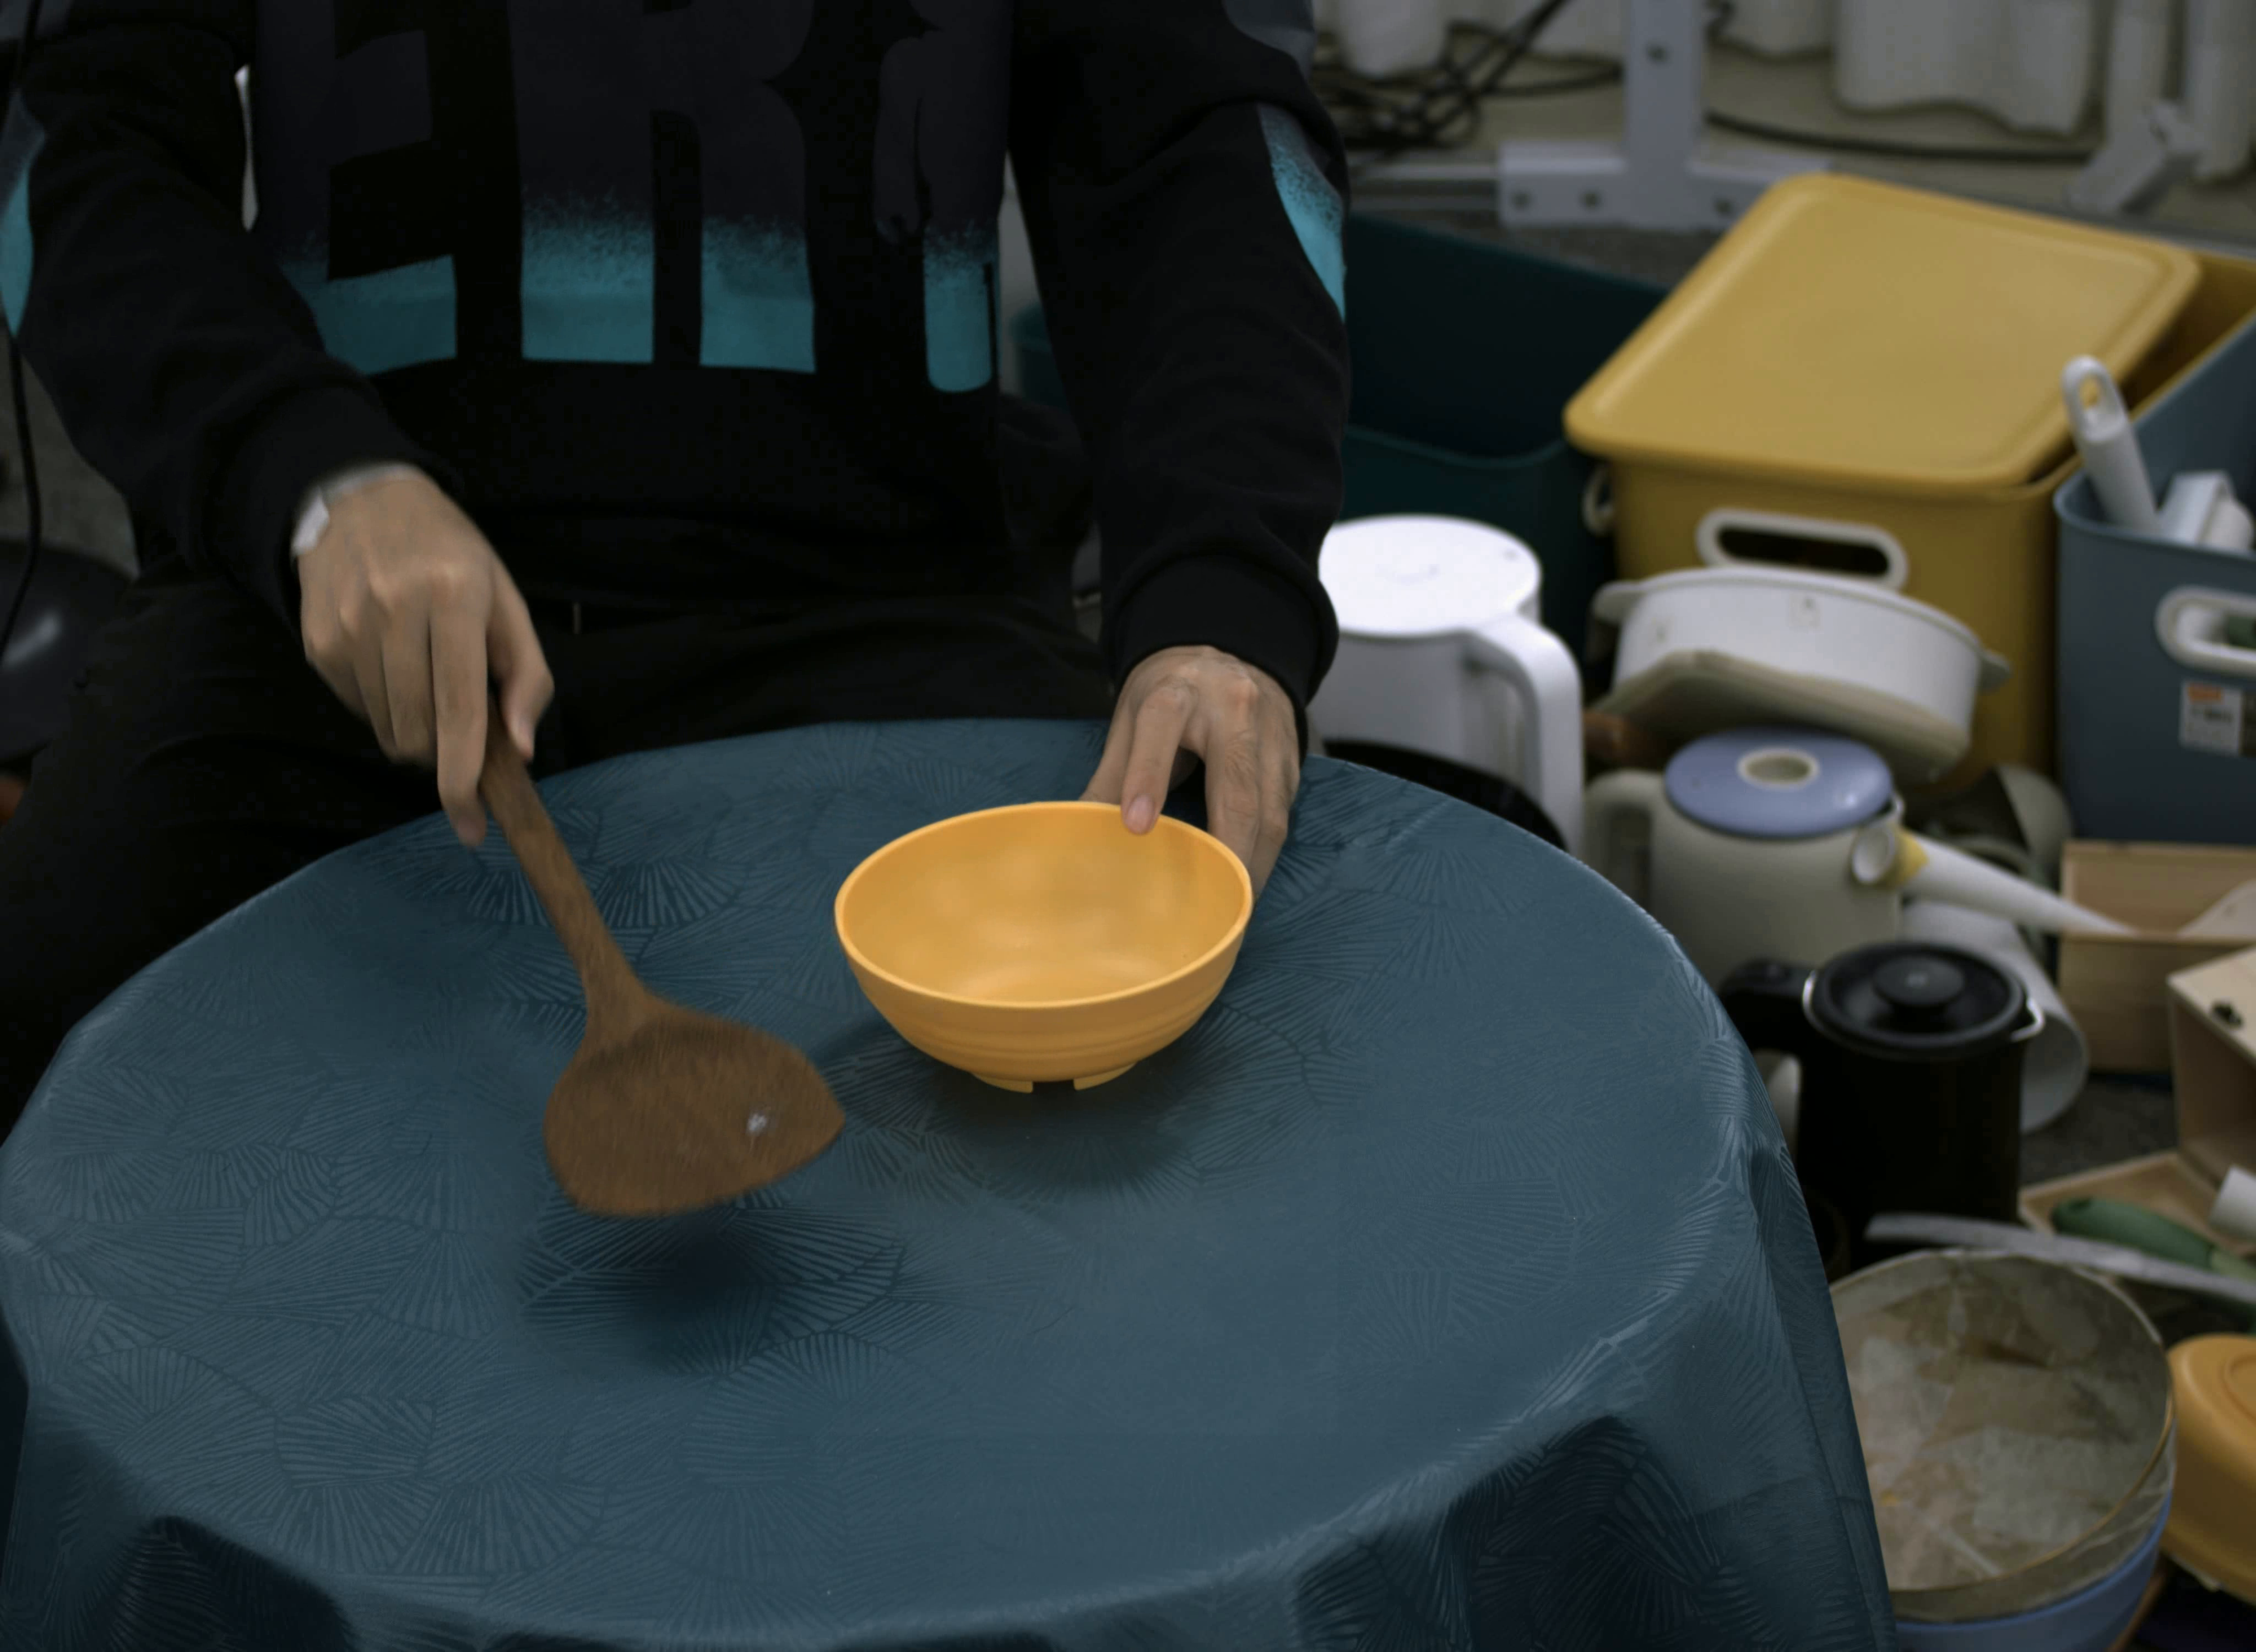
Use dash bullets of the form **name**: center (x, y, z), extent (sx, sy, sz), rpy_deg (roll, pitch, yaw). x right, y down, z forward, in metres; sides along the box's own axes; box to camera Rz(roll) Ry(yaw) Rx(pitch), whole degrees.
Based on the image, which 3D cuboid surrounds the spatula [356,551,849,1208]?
- **spatula**: center (-0.200, 0.008, 1.928), extent (0.096, 0.015, 0.390), rpy_deg (-17, 41, -16)

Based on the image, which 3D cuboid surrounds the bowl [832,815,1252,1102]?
- **bowl**: center (-0.029, 0.054, 1.937), extent (0.144, 0.059, 0.147), rpy_deg (0, 26, 0)
